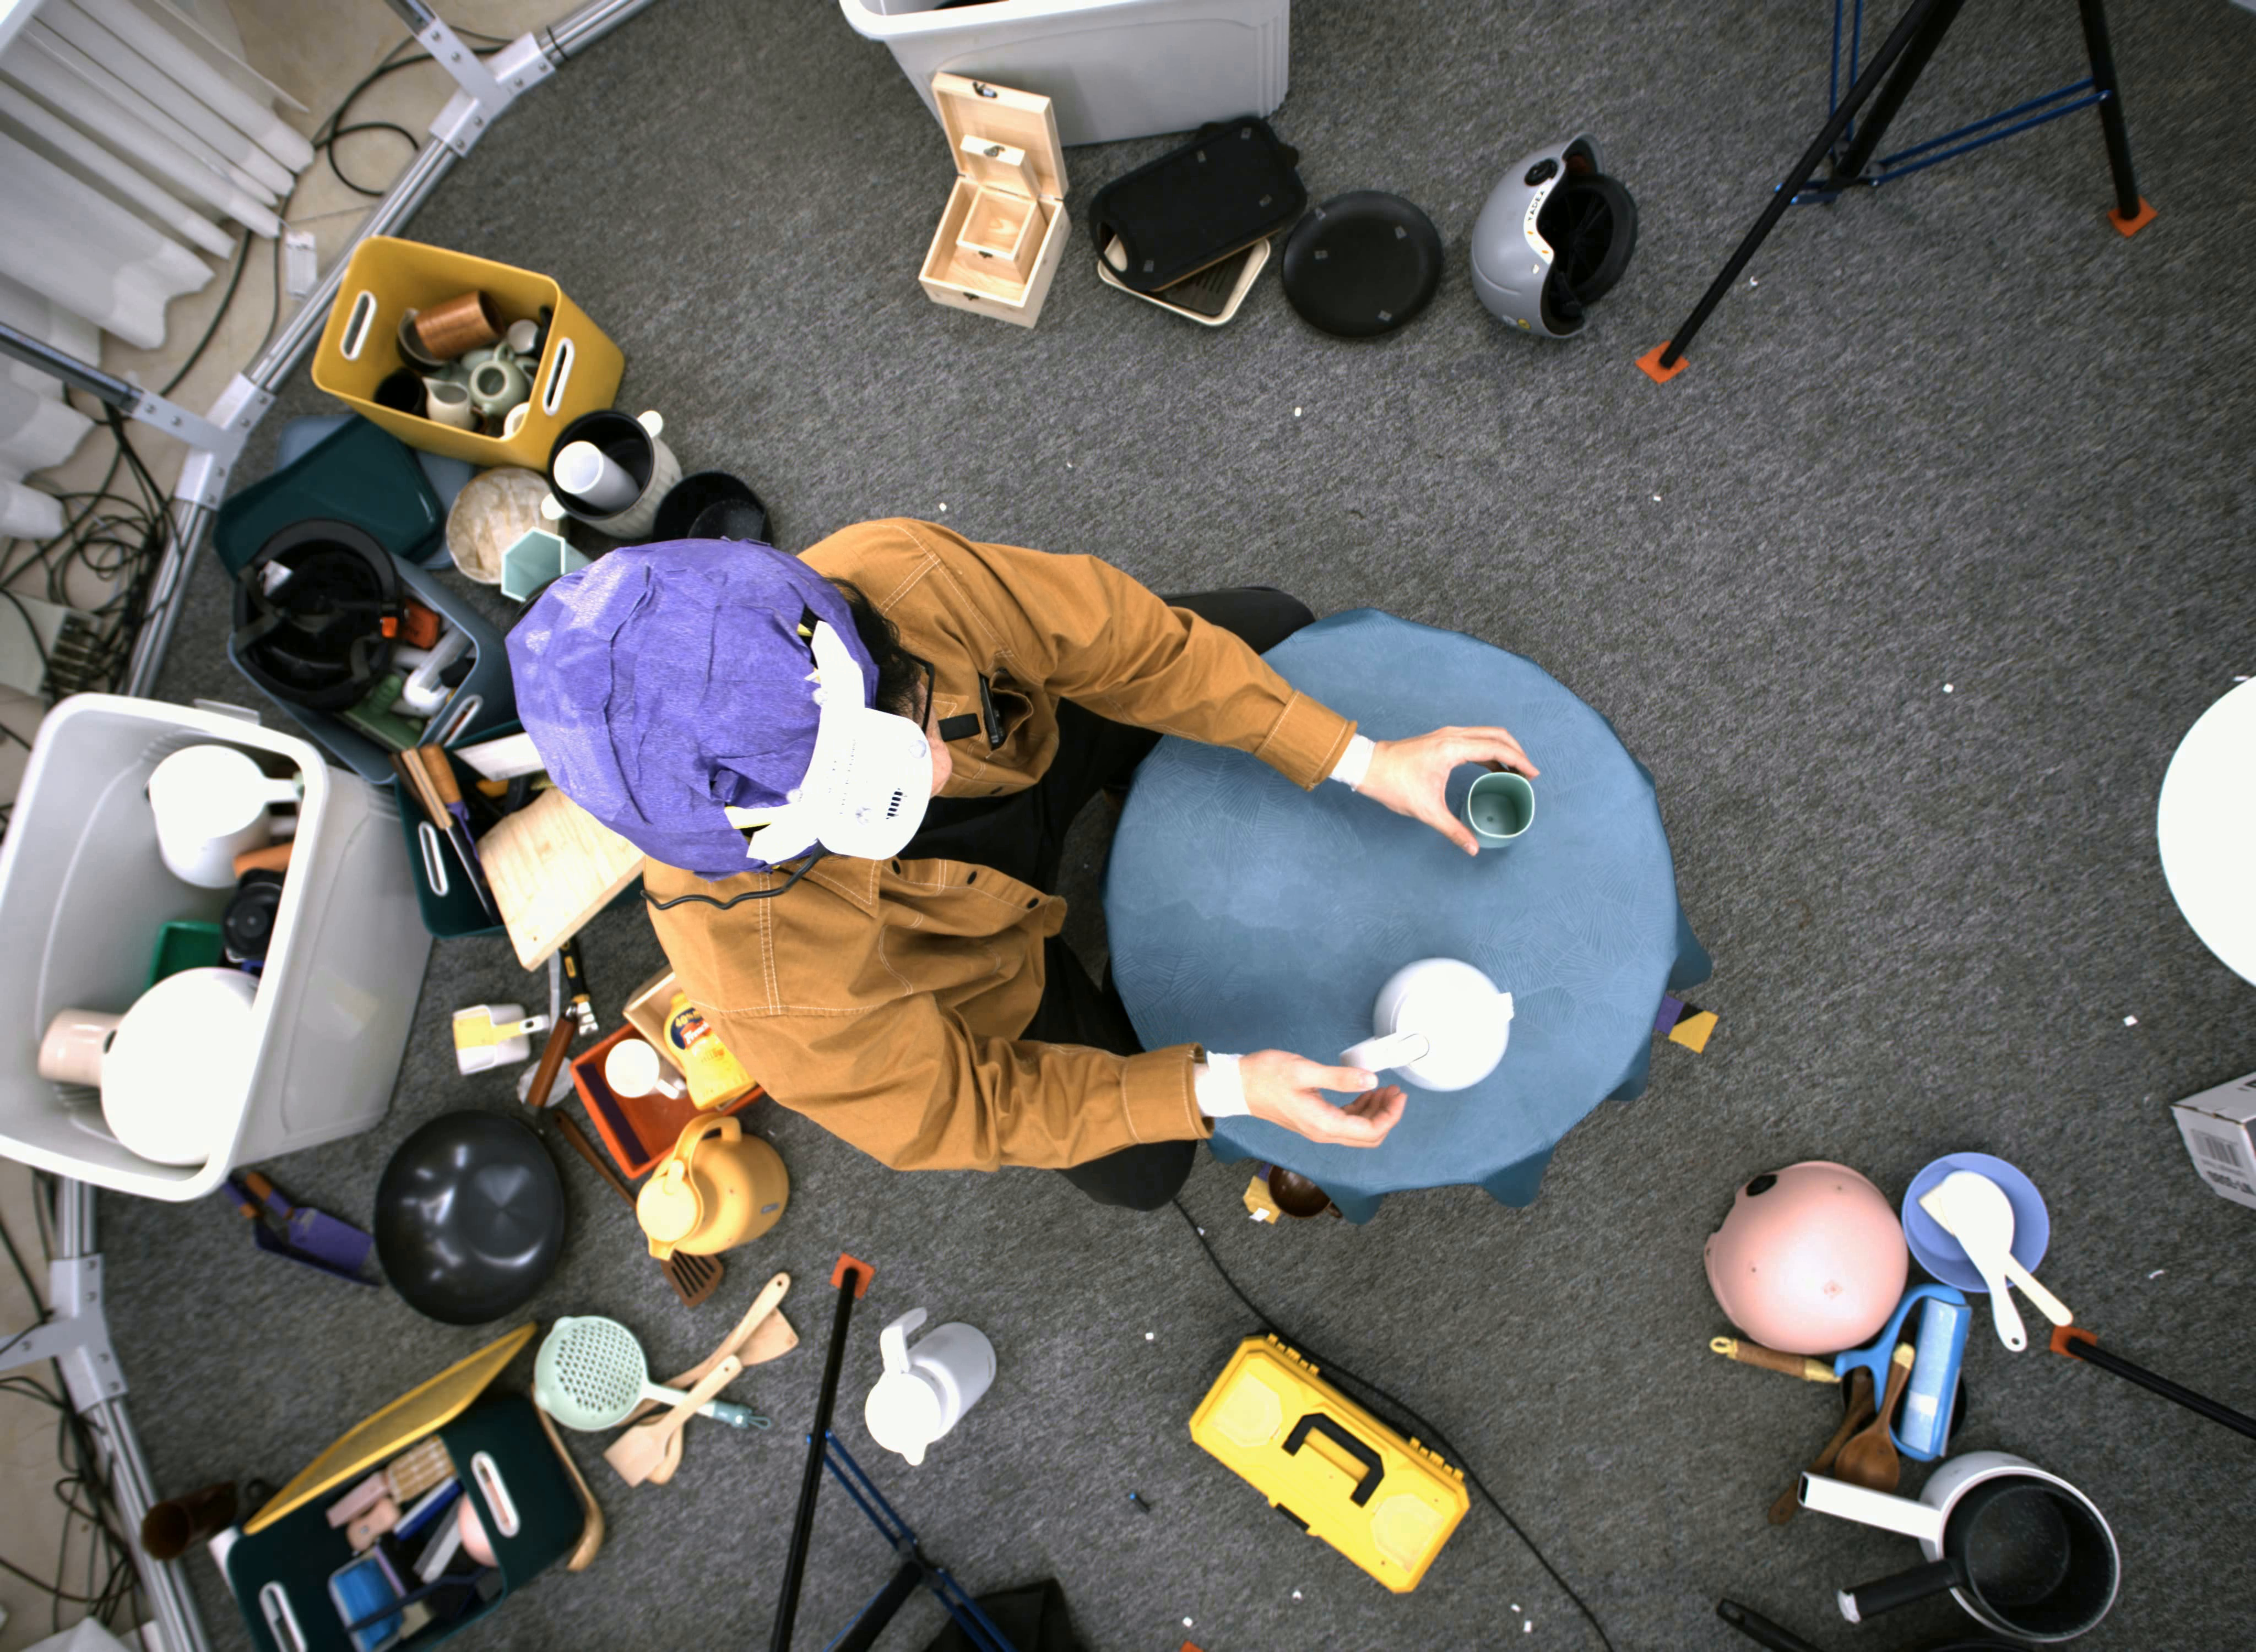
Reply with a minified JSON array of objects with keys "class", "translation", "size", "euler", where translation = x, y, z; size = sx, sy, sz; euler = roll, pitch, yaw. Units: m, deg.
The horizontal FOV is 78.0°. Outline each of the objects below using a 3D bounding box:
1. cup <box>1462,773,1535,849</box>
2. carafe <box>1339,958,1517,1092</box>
[{"class":"cup","translation":[0.370,-0.015,1.383],"size":[0.067,0.132,0.066],"euler":[-1,84,10]},{"class":"carafe","translation":[0.284,0.199,1.327],"size":[0.169,0.249,0.131],"euler":[-24,81,8]}]
